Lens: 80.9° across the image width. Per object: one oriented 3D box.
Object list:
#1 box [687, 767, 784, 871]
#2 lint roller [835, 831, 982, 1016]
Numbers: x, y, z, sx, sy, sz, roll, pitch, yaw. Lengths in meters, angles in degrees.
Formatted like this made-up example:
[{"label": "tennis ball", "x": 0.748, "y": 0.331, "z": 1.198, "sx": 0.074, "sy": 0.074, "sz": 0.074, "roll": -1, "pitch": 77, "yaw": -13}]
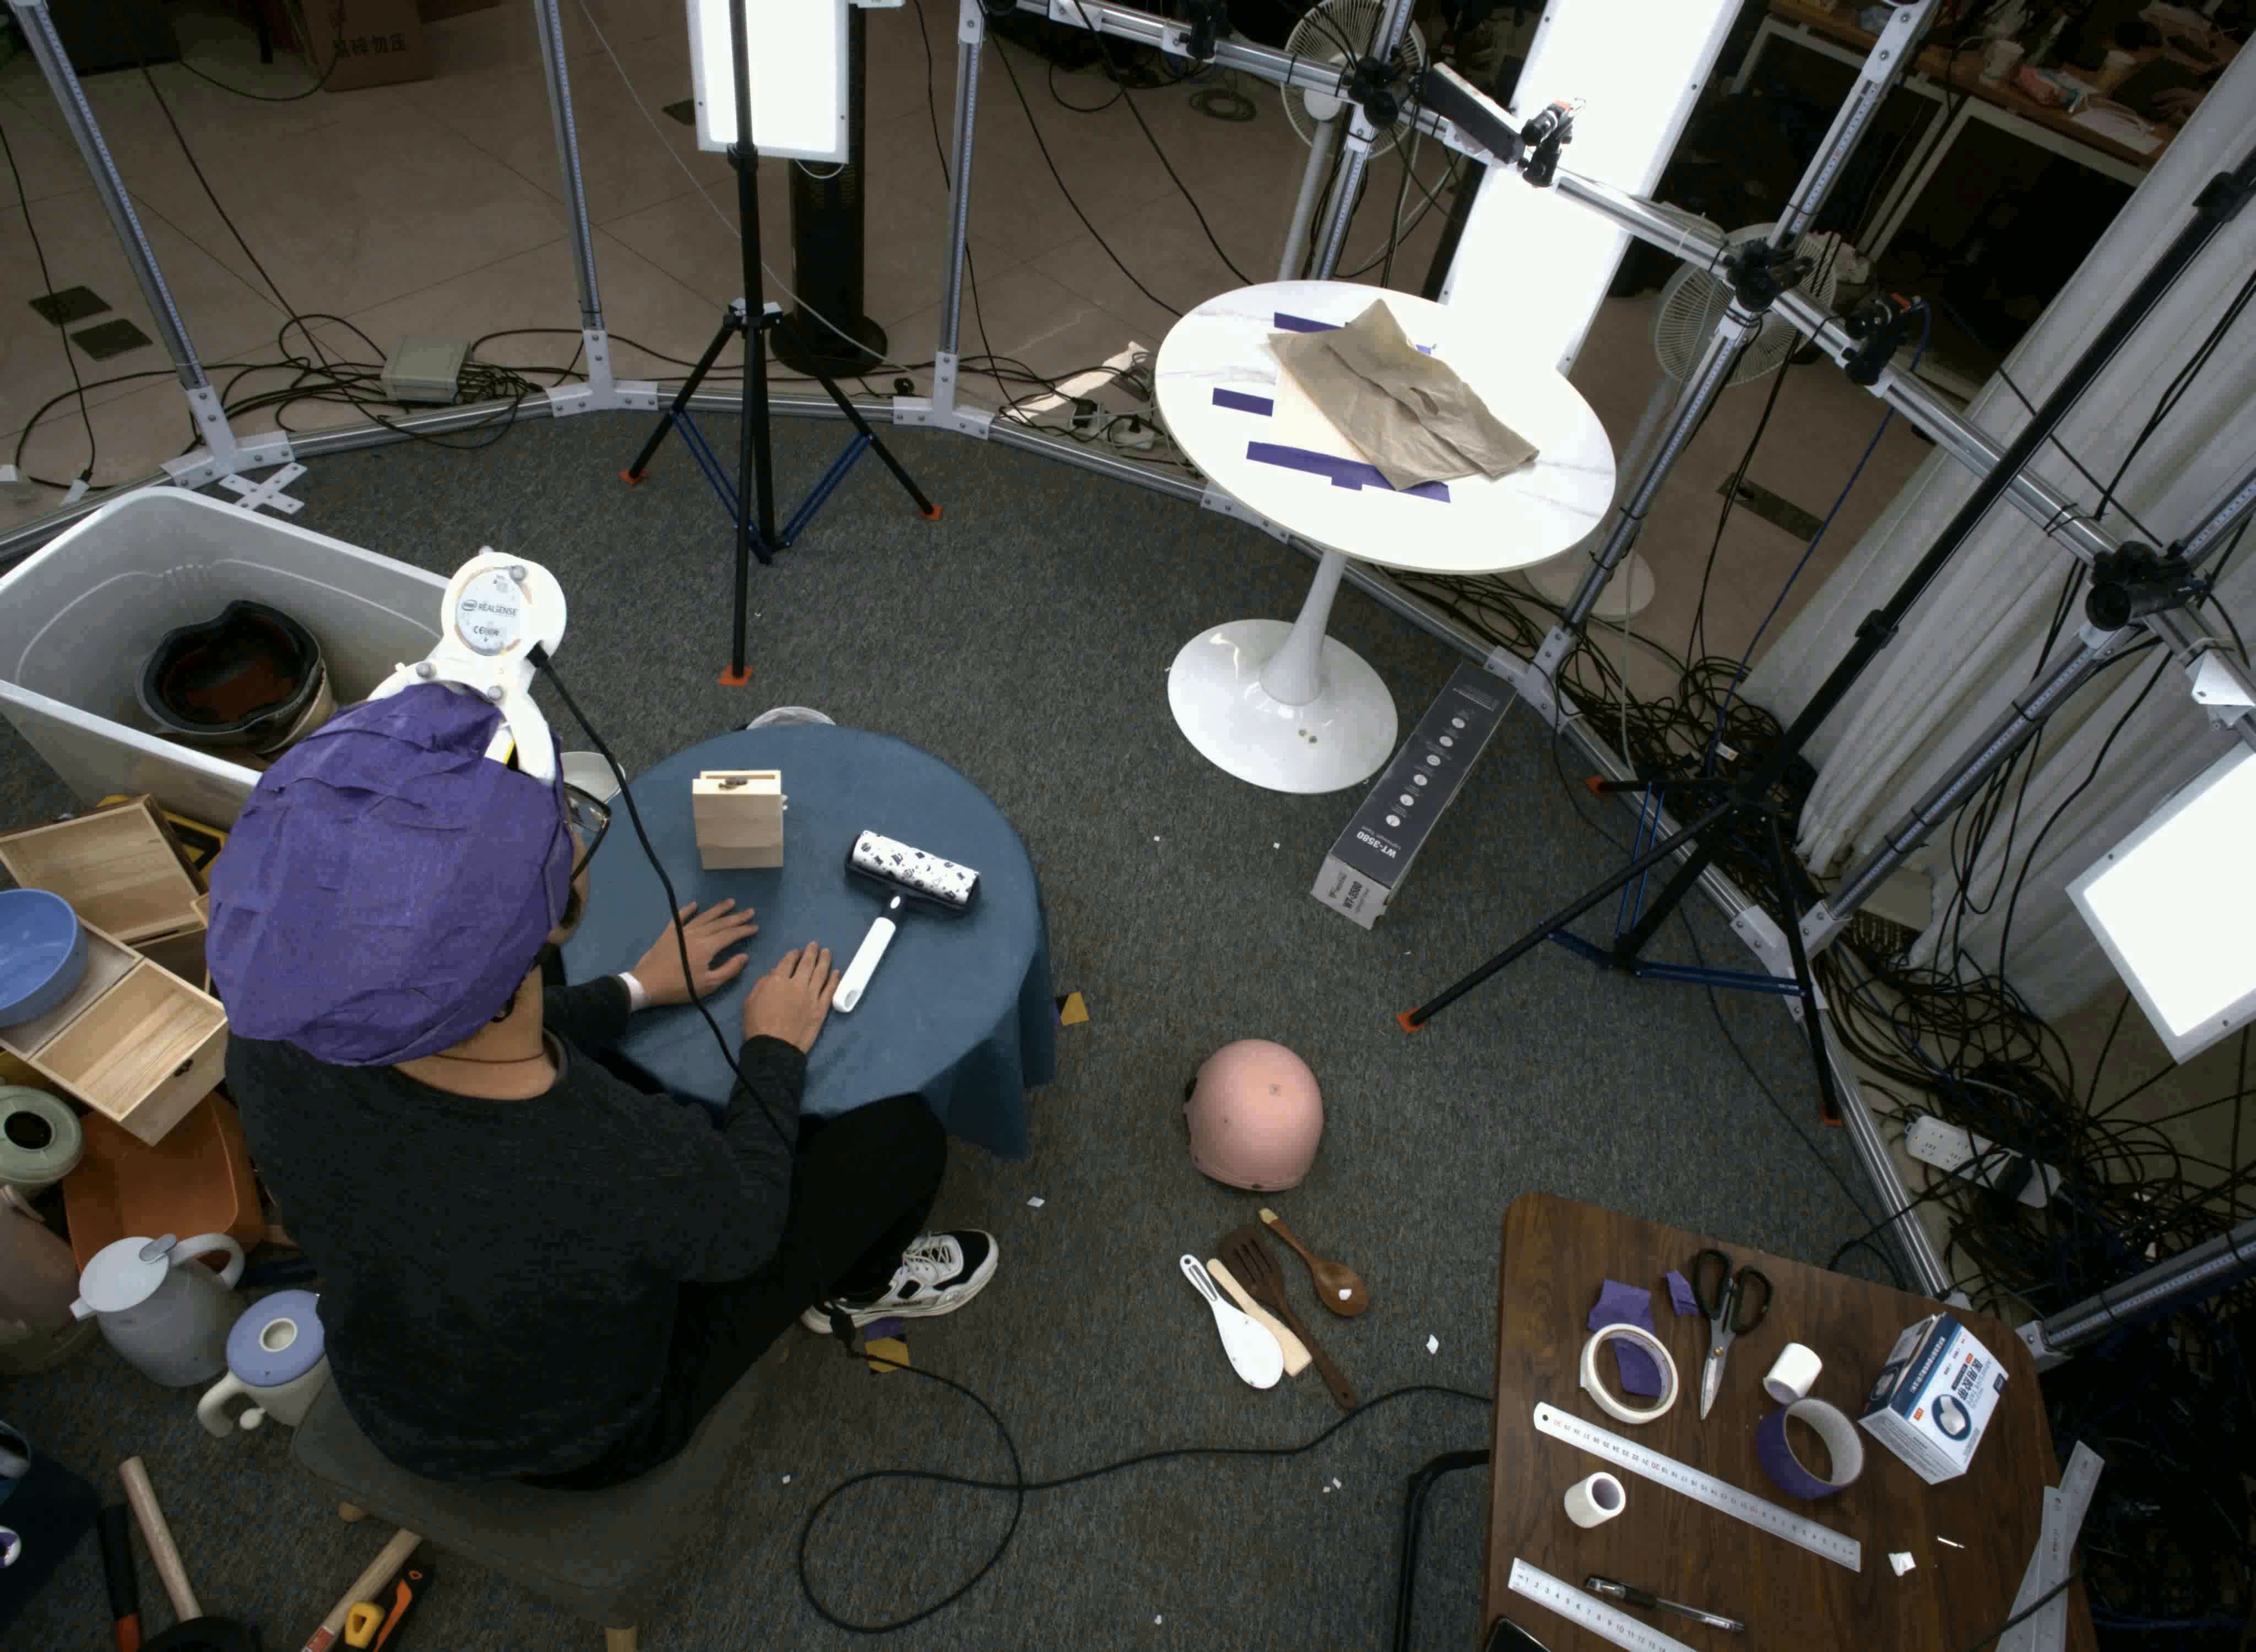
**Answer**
[{"label": "box", "x": -0.486, "y": -0.035, "z": 1.610, "sx": 0.103, "sy": 0.188, "sz": 0.131, "roll": -3, "pitch": 54, "yaw": -14}, {"label": "lint roller", "x": -0.304, "y": 0.127, "z": 1.628, "sx": 0.175, "sy": 0.051, "sz": 0.244, "roll": 21, "pitch": 52, "yaw": 0}]
